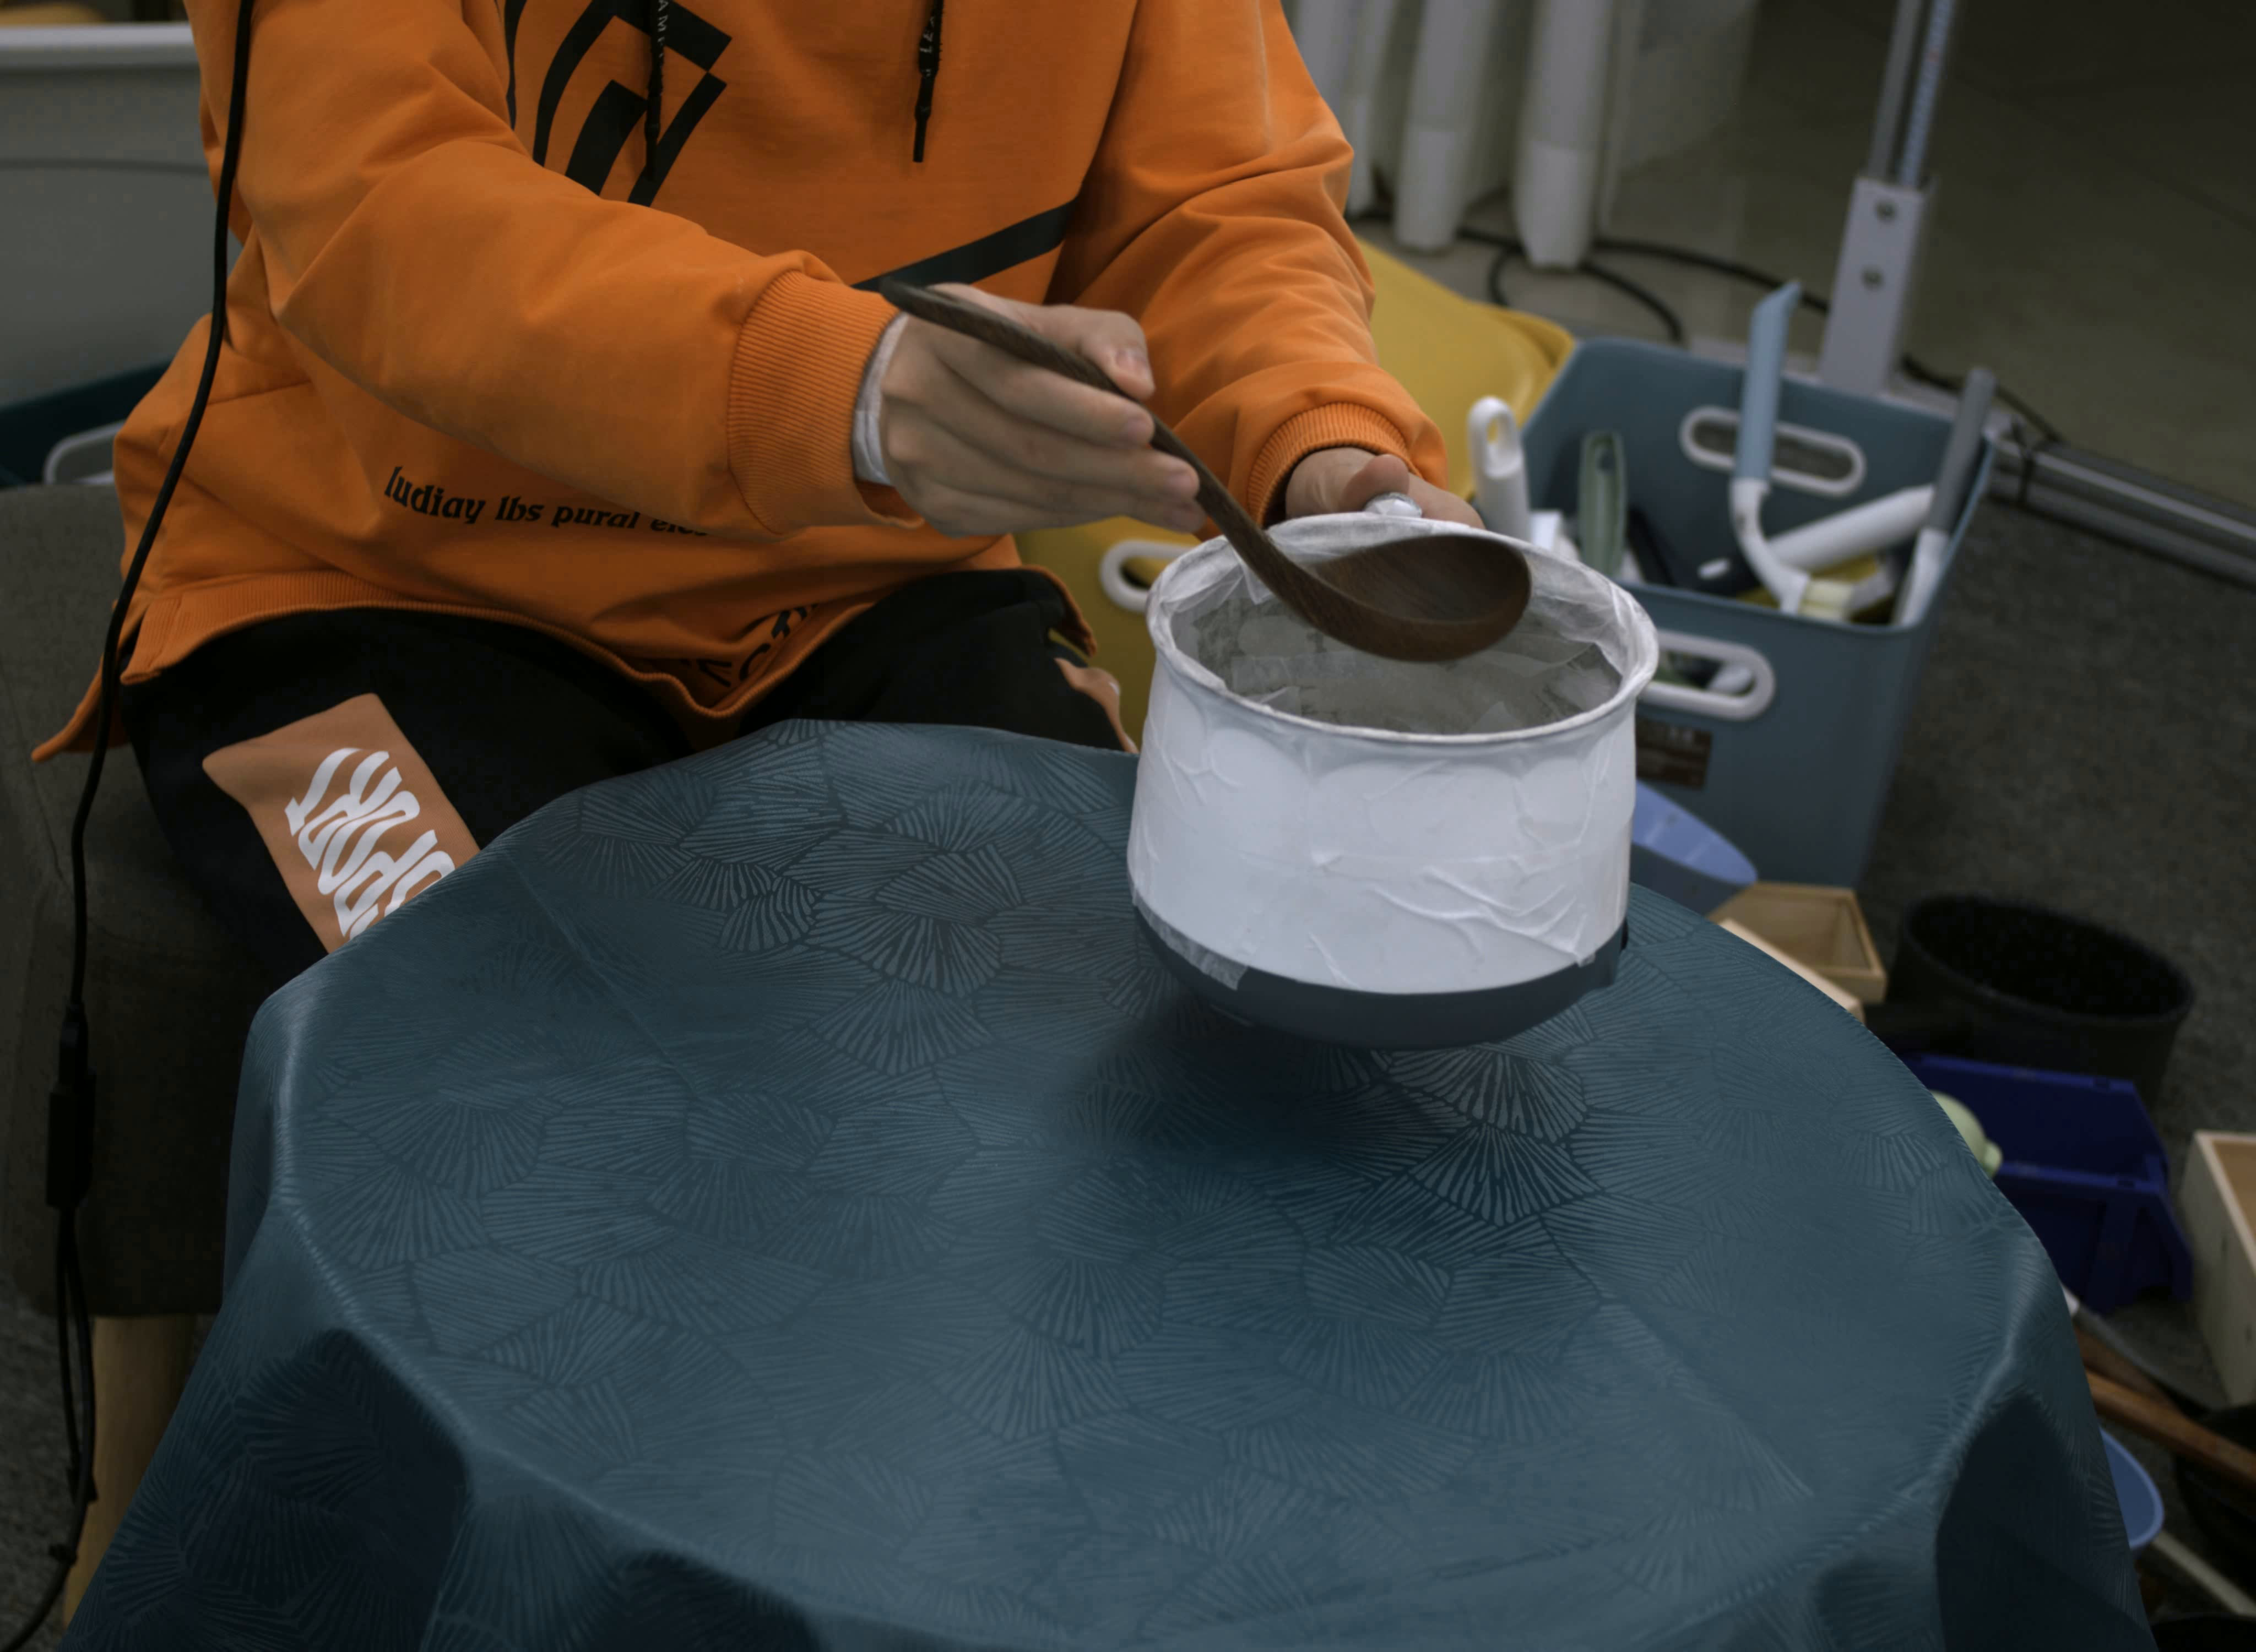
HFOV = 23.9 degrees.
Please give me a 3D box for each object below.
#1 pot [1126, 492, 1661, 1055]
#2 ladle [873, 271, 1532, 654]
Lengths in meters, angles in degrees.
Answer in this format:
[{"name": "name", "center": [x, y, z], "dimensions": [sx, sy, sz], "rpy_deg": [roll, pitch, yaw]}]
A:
[{"name": "pot", "center": [0.089, -0.025, 1.870], "dimensions": [0.178, 0.136, 0.235], "rpy_deg": [3, 27, -2]}, {"name": "ladle", "center": [0.031, -0.136, 1.787], "dimensions": [0.271, 0.071, 0.076], "rpy_deg": [36, -2, -34]}]
